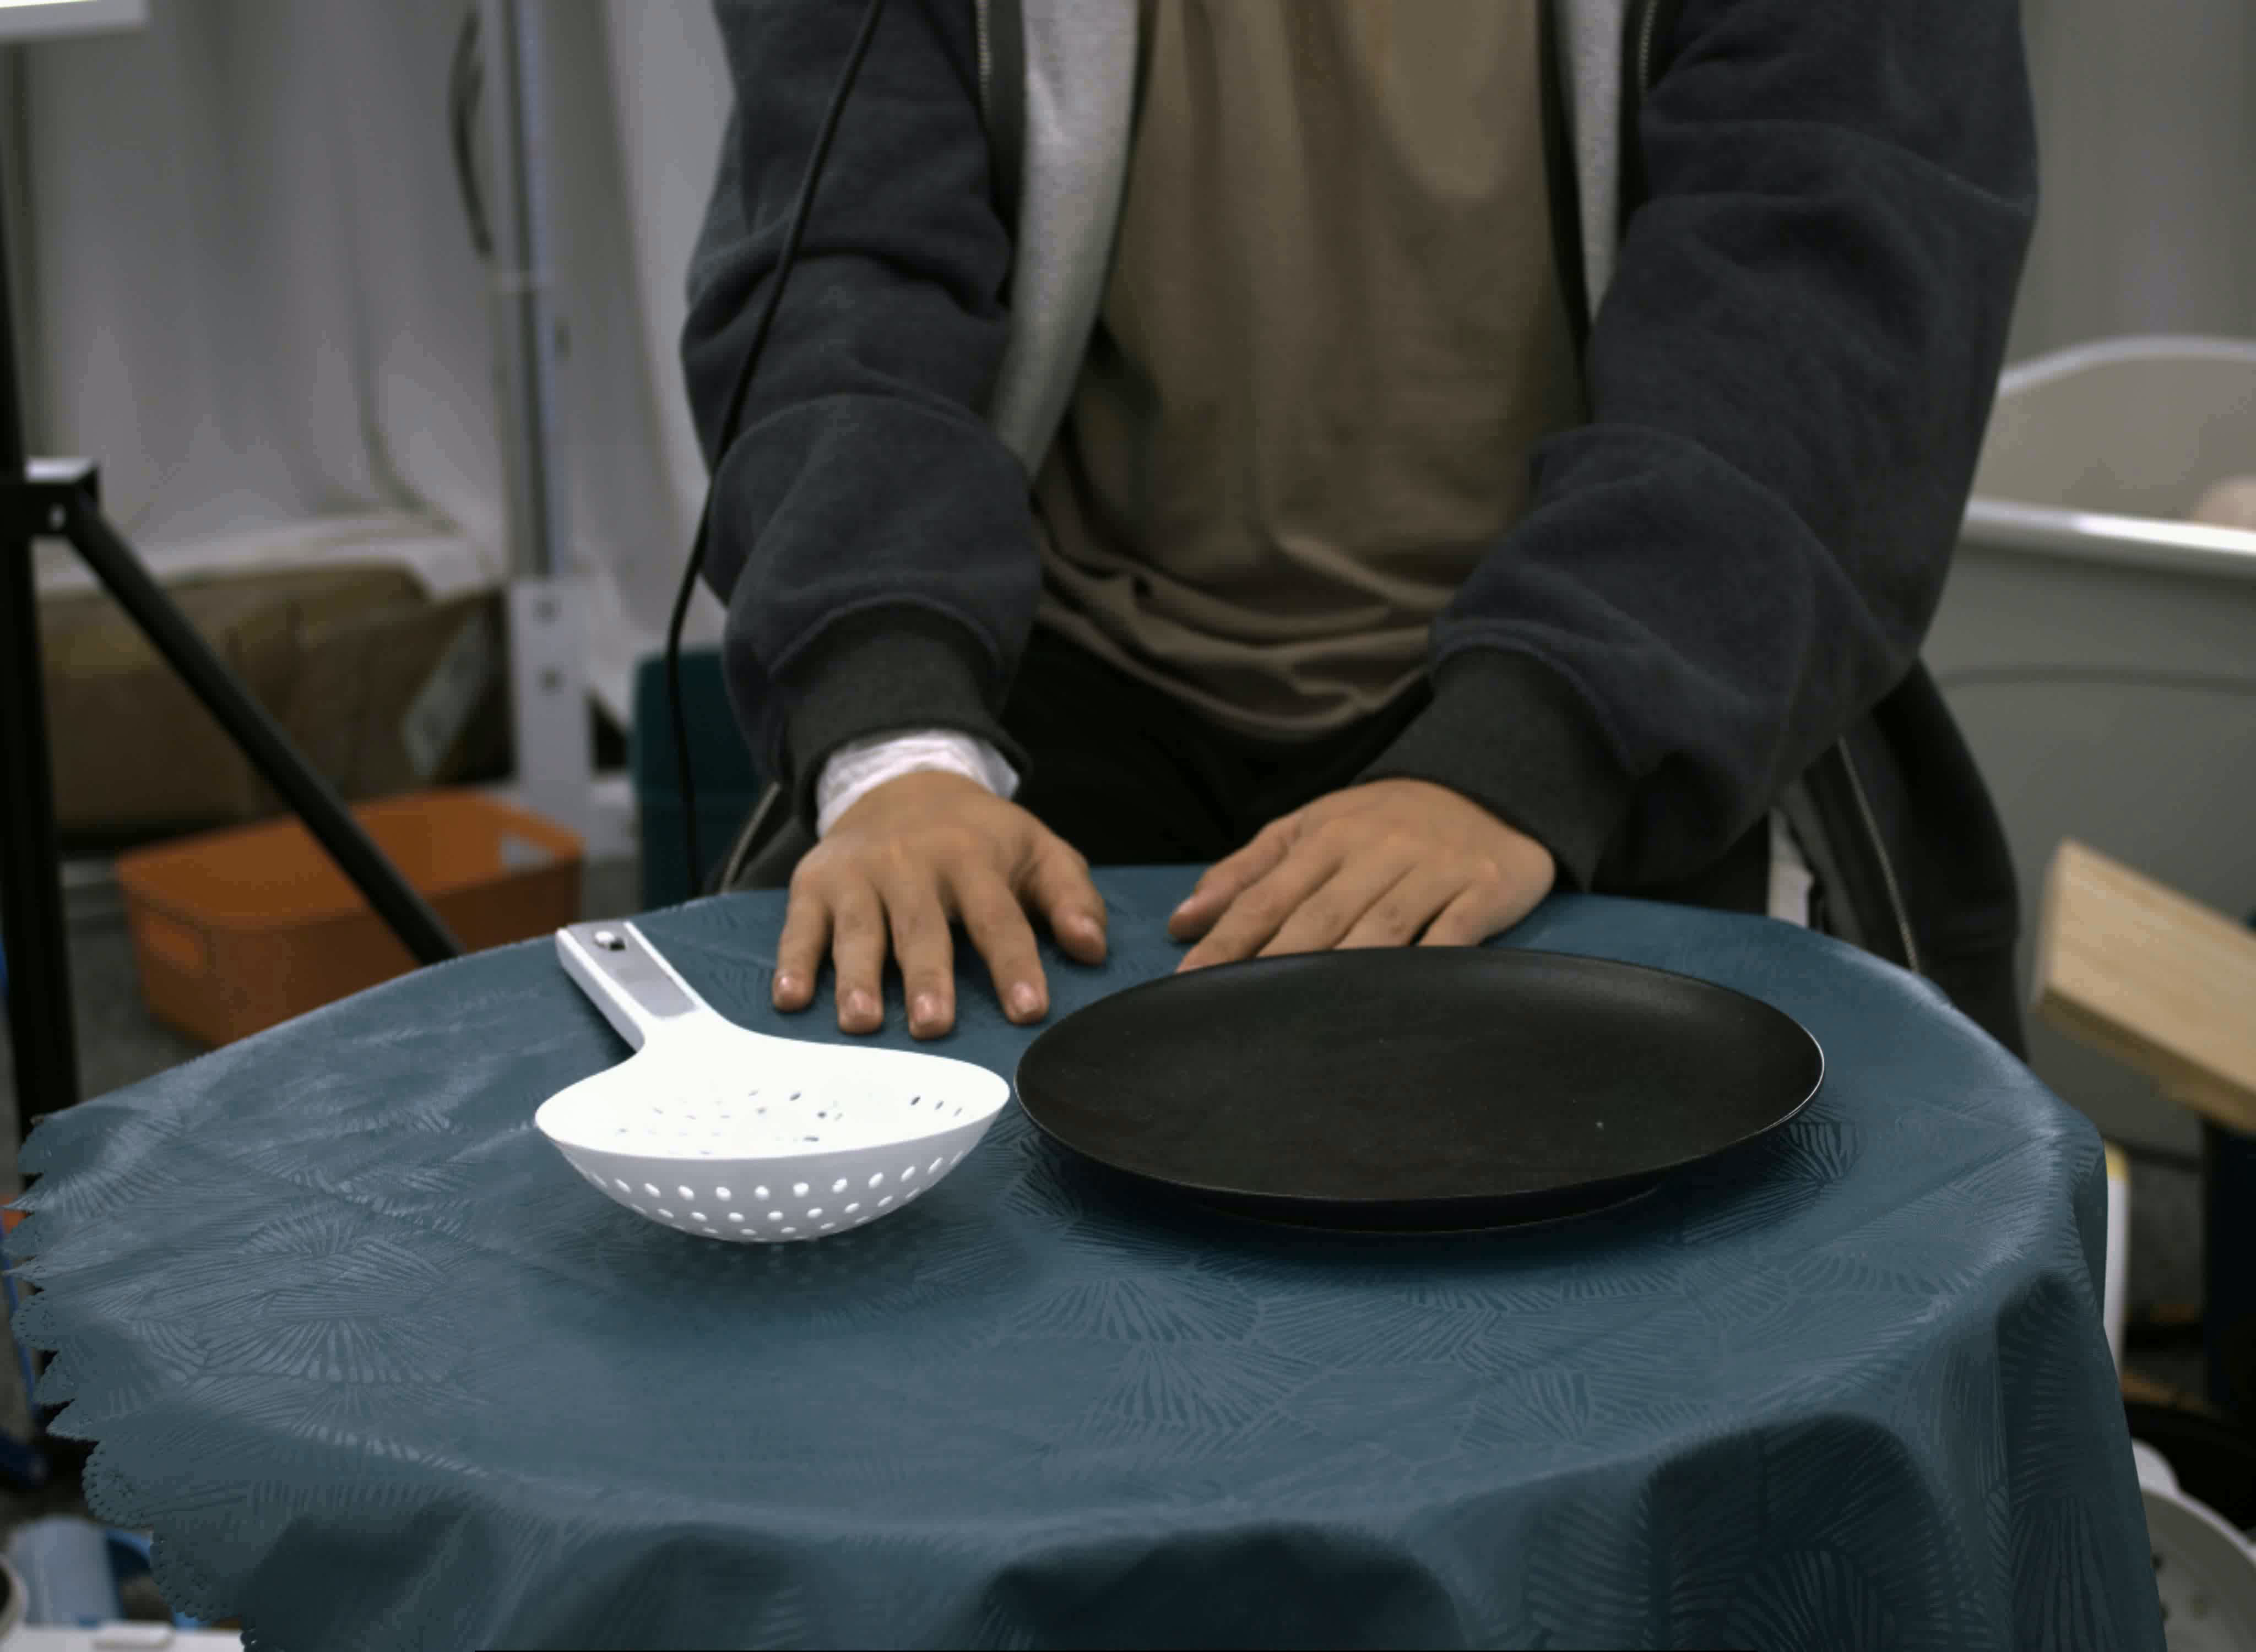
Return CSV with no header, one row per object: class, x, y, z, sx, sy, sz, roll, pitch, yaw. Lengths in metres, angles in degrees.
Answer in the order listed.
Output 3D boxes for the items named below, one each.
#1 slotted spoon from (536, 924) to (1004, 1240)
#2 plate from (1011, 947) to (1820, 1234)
slotted spoon,-0.134,0.069,1.637,0.134,0.046,0.355,-5,15,-15
plate,0.086,0.082,1.596,0.243,0.023,0.245,-3,16,-1
